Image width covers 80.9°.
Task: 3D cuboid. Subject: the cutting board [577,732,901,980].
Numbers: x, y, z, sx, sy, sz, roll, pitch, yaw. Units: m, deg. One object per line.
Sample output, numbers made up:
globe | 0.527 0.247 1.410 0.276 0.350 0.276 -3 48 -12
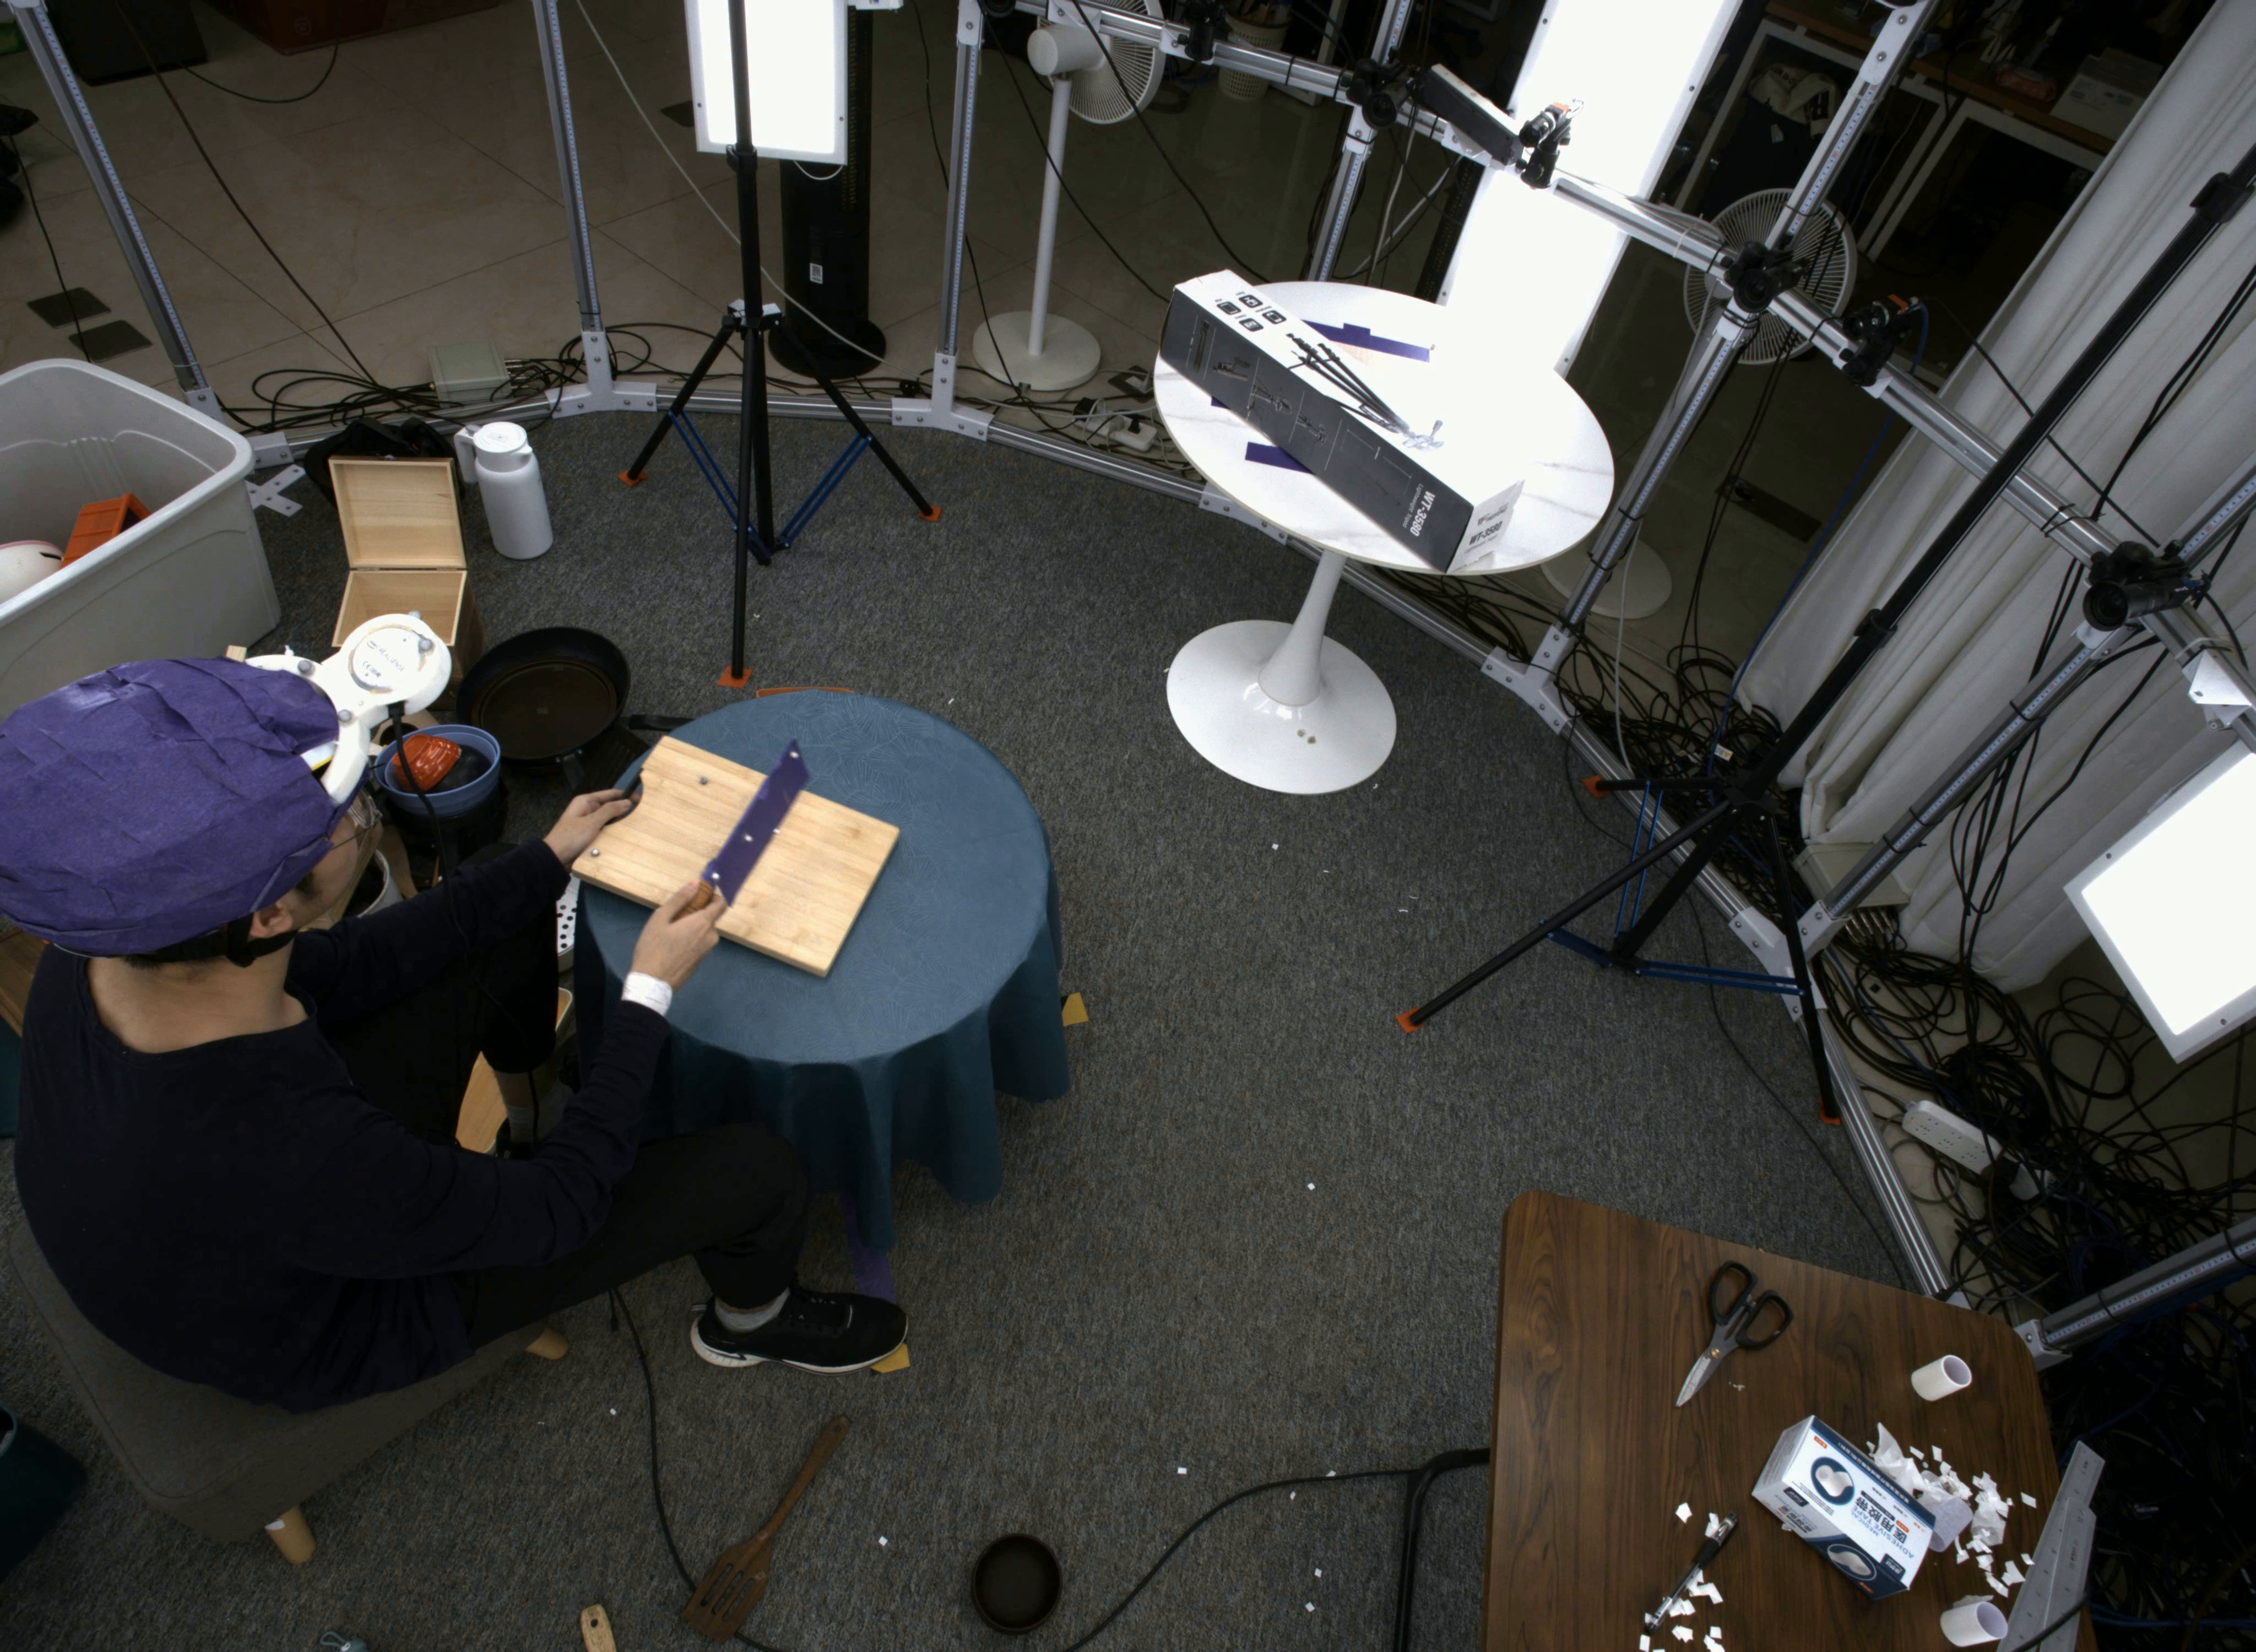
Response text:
cutting board | -0.498 0.032 1.662 0.347 0.024 0.248 23 52 -4

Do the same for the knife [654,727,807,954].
knife | -0.465 0.028 1.551 0.031 0.107 0.313 18 60 13
